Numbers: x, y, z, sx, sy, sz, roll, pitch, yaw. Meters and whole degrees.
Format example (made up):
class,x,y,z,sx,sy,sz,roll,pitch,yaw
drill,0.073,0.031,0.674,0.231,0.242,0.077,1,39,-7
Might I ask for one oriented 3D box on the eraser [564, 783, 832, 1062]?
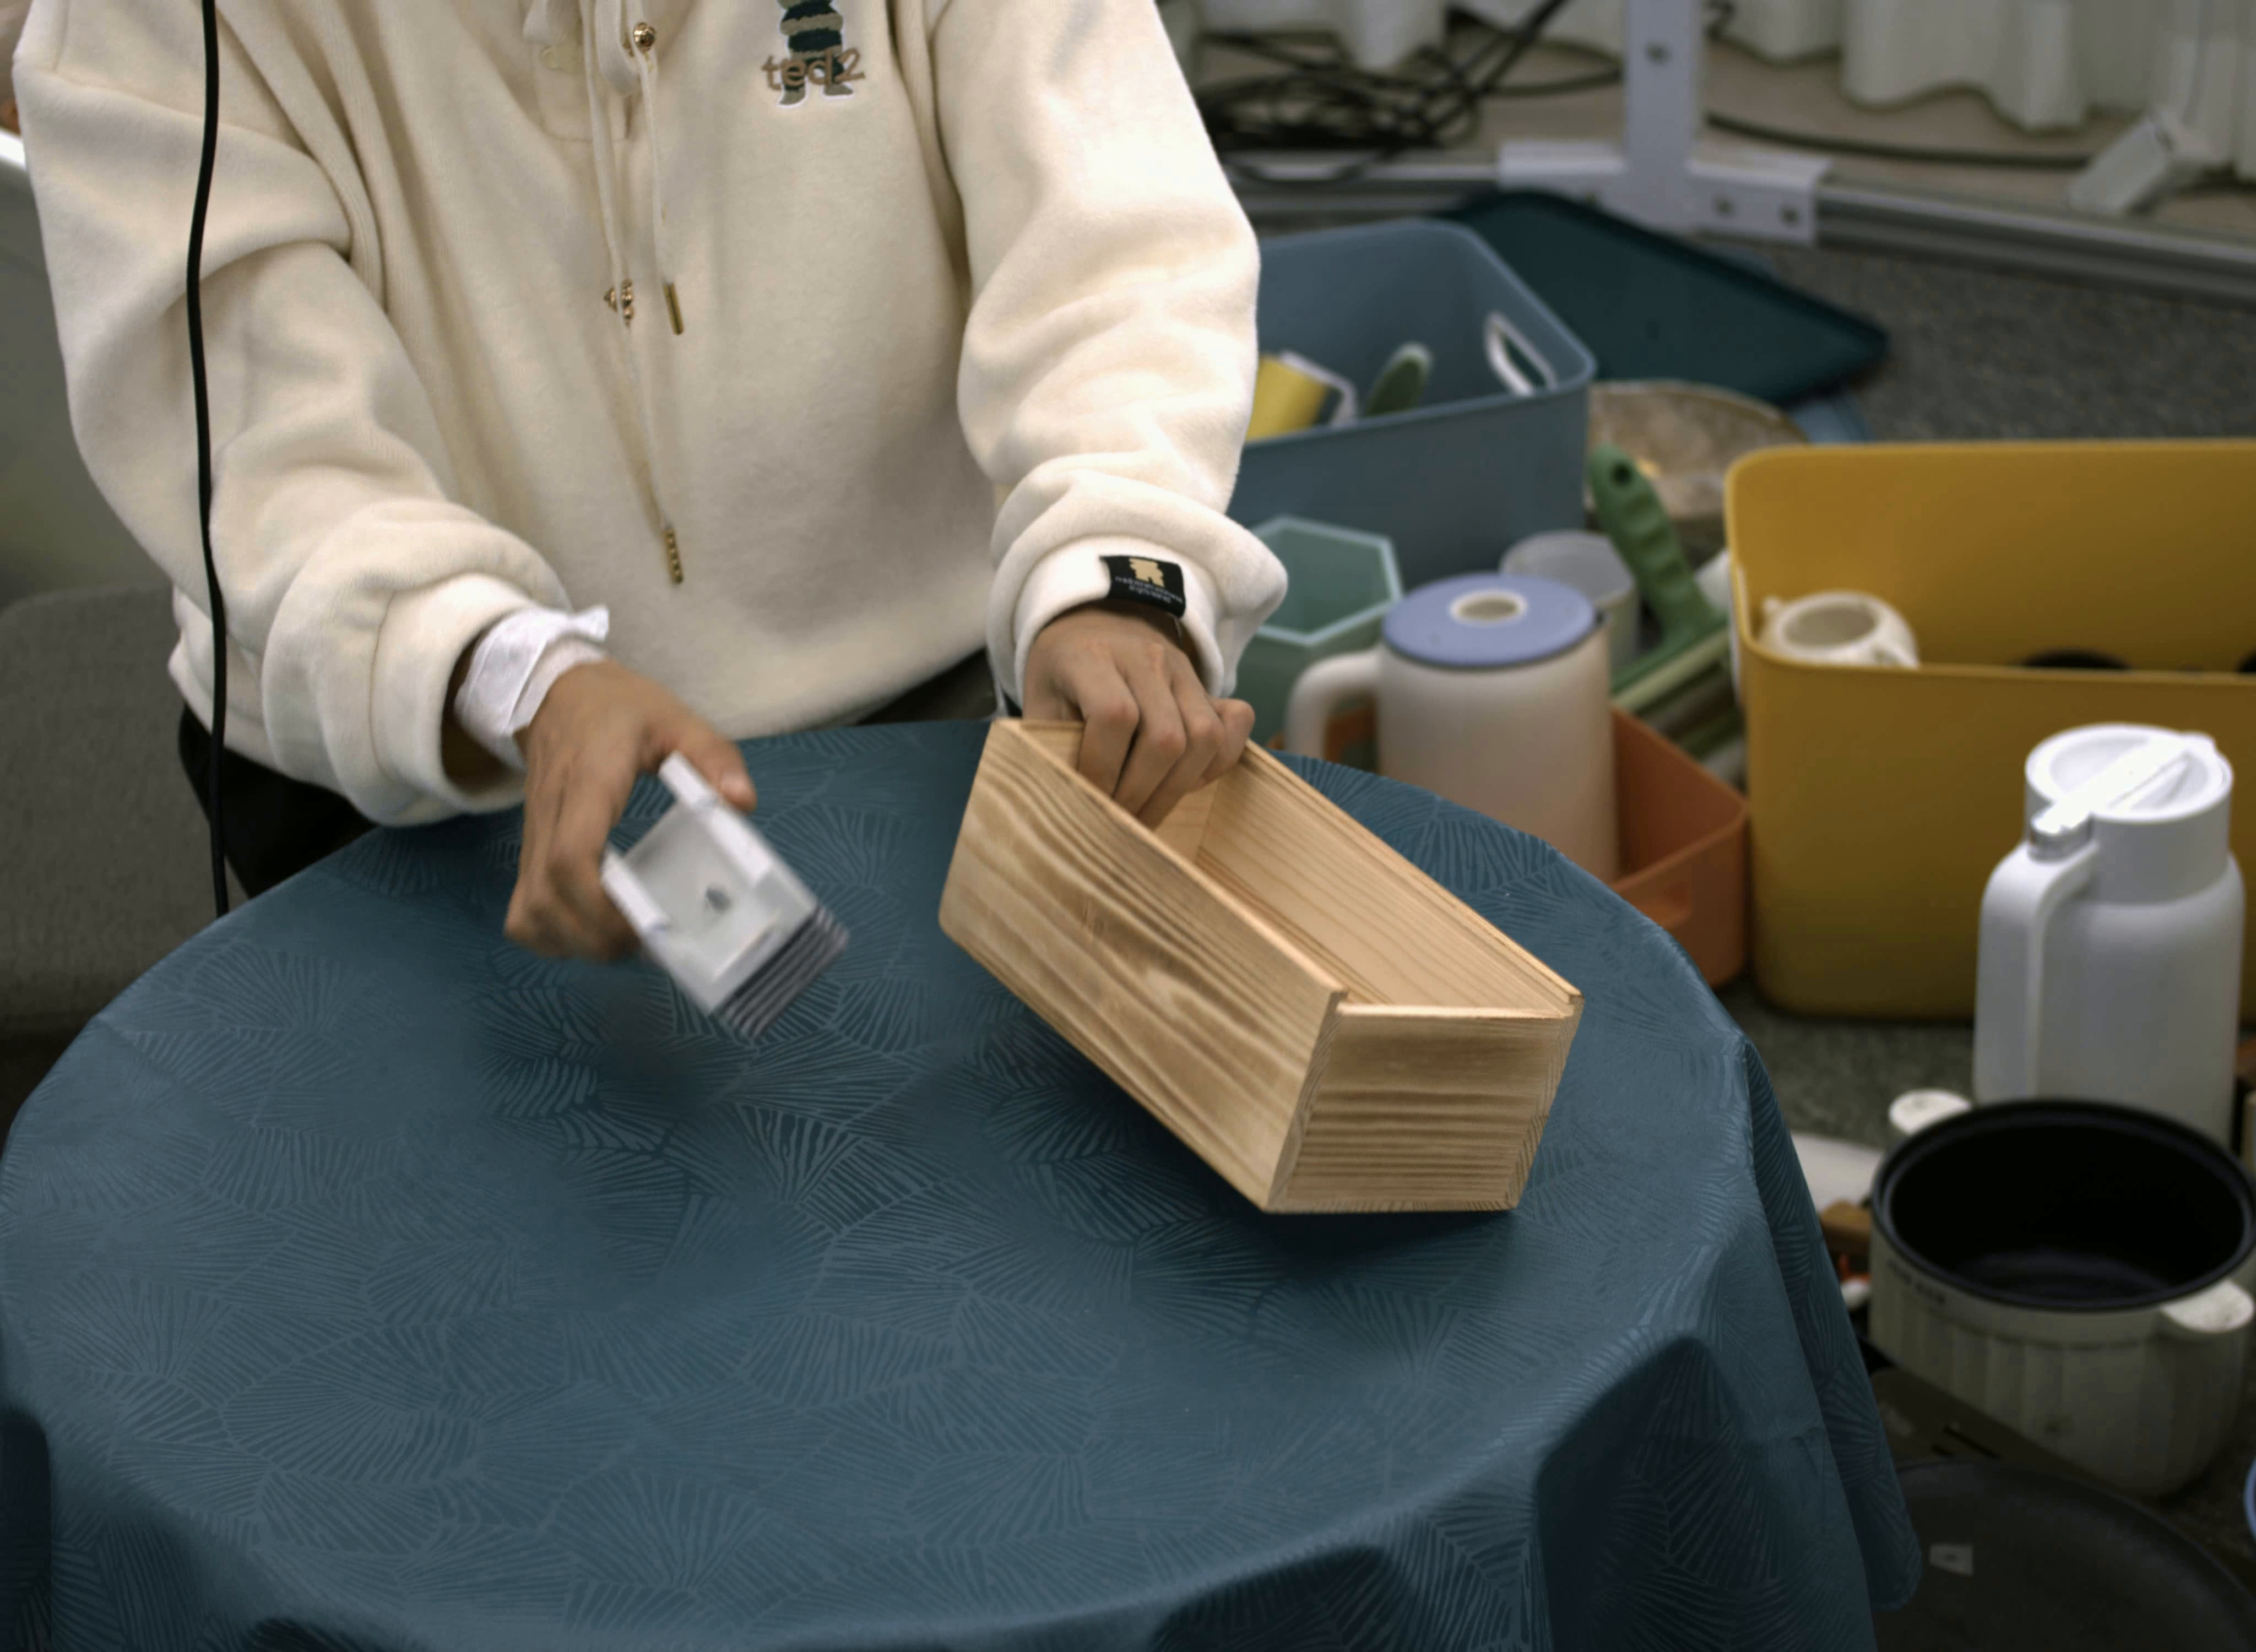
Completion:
class,x,y,z,sx,sy,sz,roll,pitch,yaw
eraser,-0.144,0.032,1.886,0.050,0.046,0.135,-45,25,-3

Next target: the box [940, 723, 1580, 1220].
class,x,y,z,sx,sy,sz,roll,pitch,yaw
box,0.040,0.046,1.876,0.108,0.079,0.212,2,24,-36
